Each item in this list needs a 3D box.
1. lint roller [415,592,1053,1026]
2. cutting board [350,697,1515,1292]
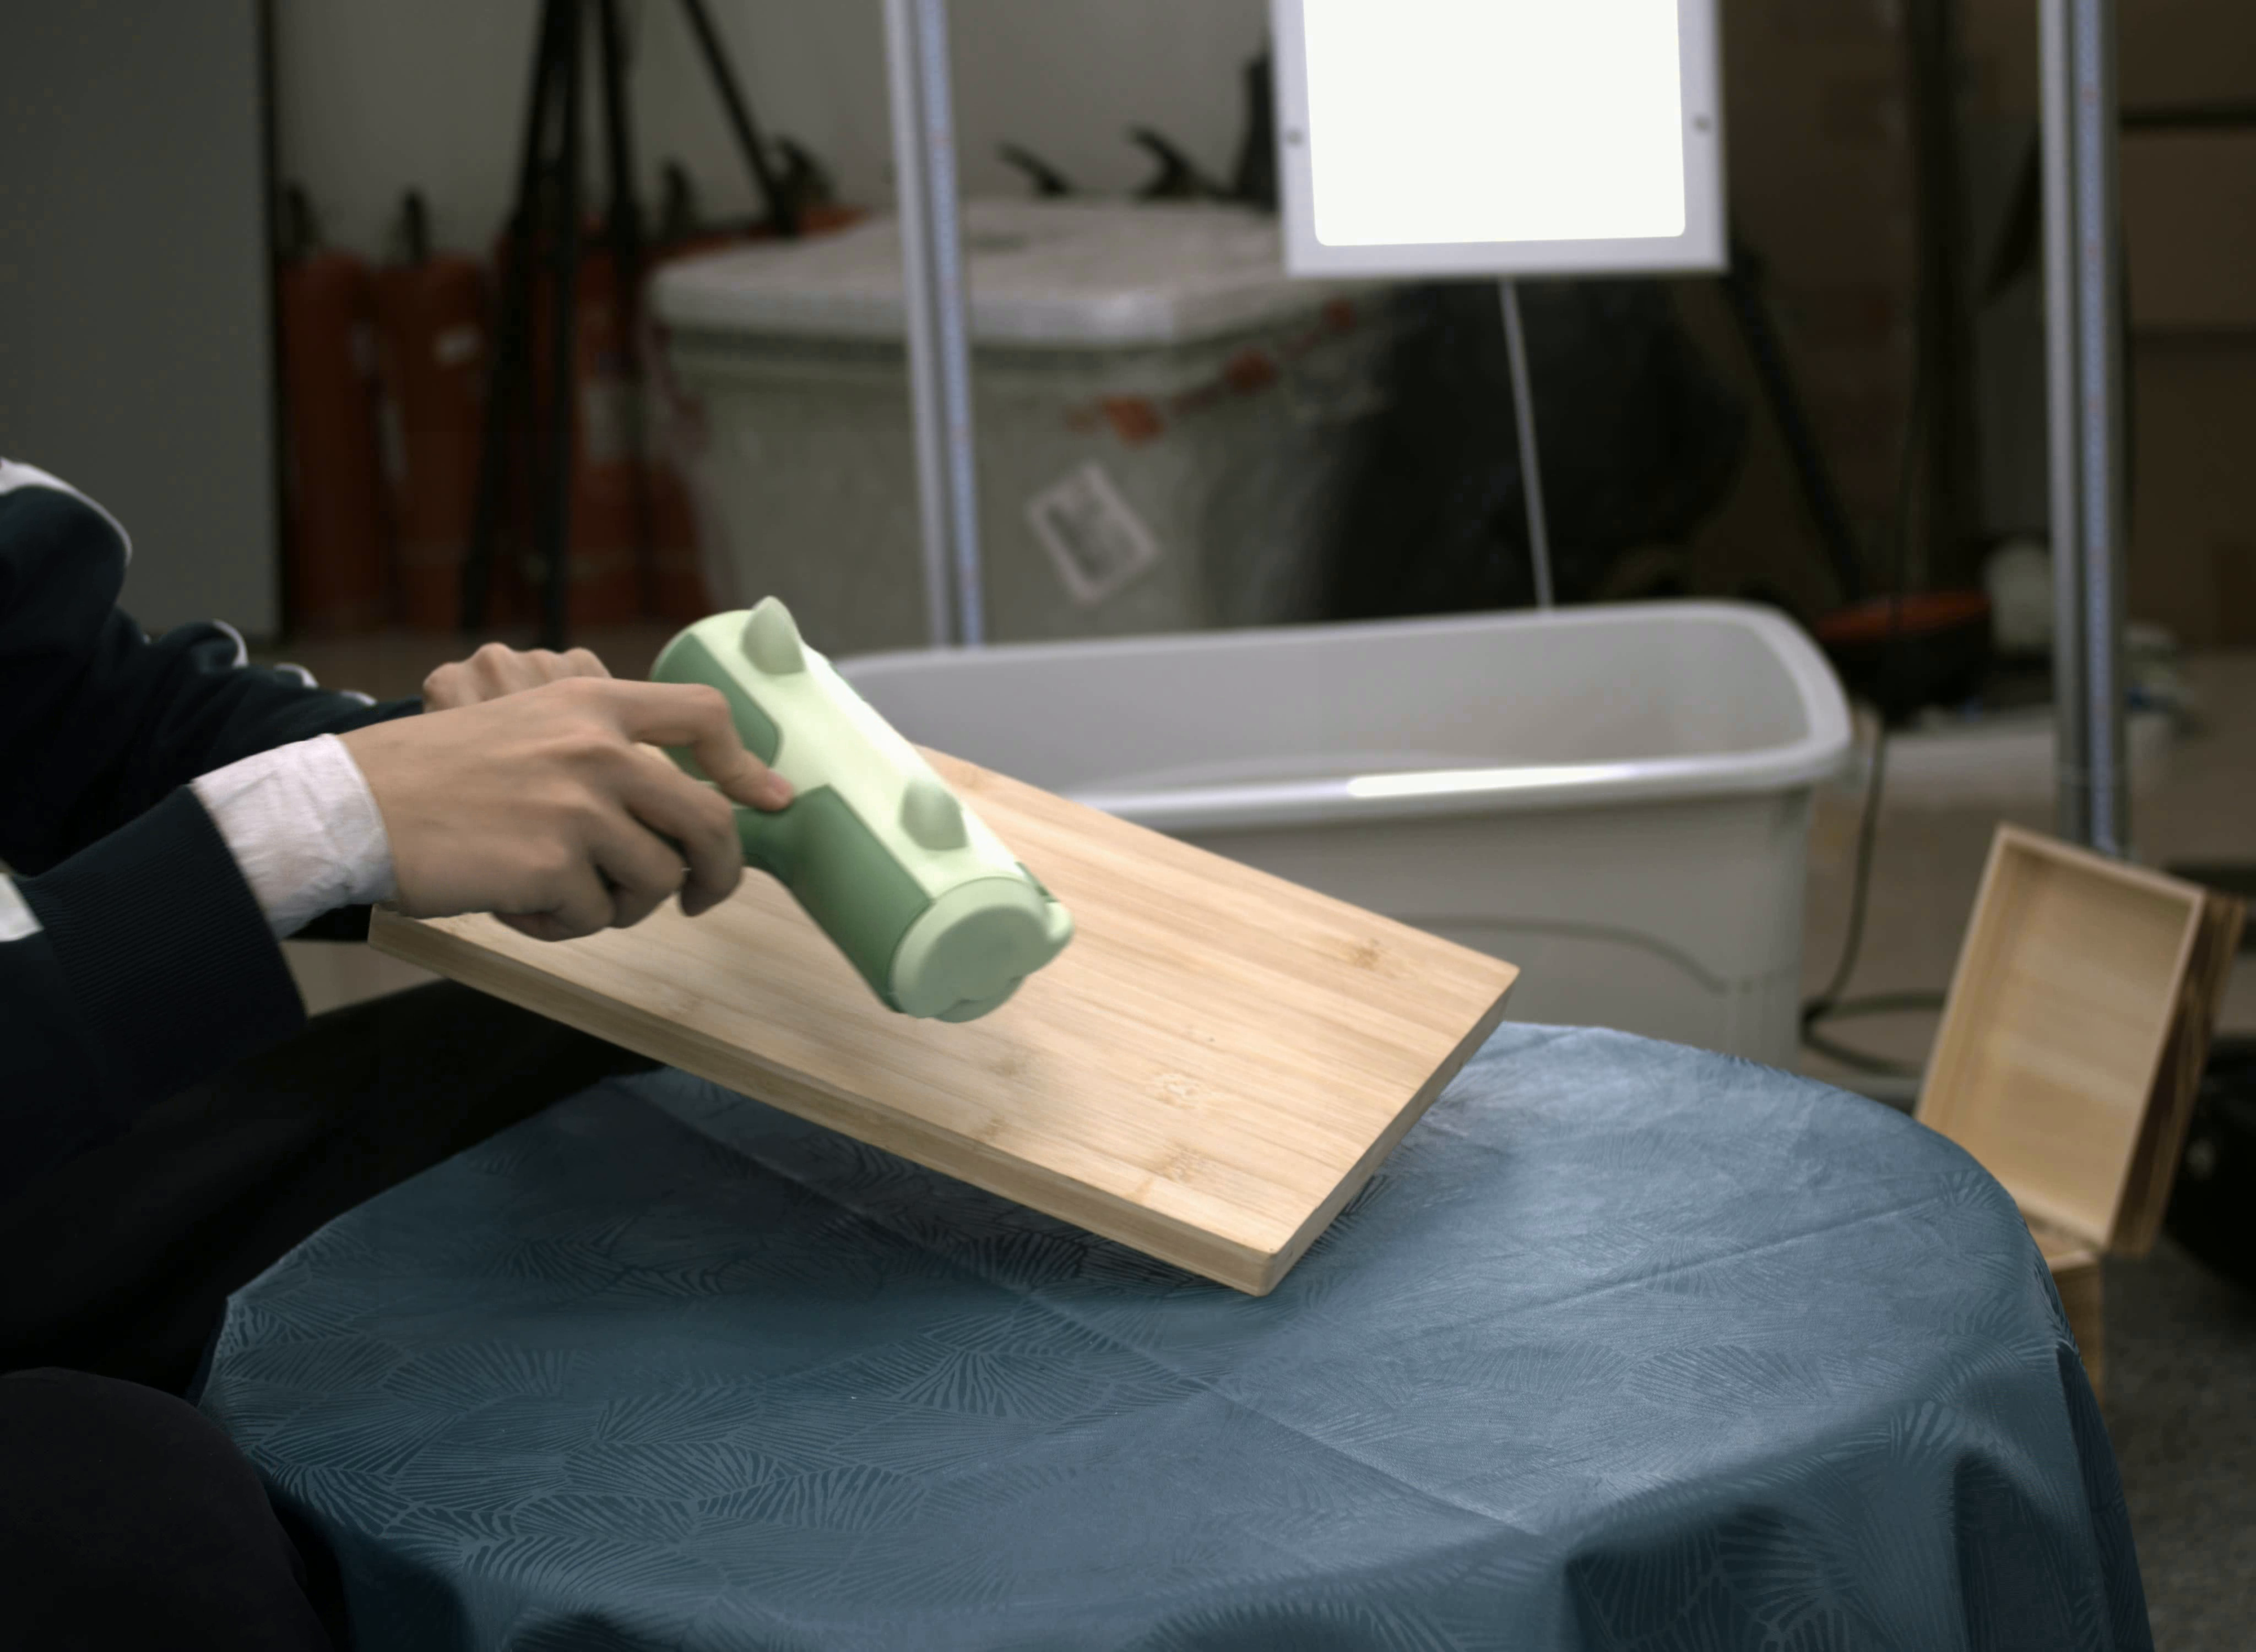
[{"bbox_3d":[-0.142,-0.014,1.795,0.179,0.083,0.201,3,29,-35],"label":"lint roller"},{"bbox_3d":[-0.064,0.045,1.924,0.352,0.024,0.246,20,29,17],"label":"cutting board"}]
